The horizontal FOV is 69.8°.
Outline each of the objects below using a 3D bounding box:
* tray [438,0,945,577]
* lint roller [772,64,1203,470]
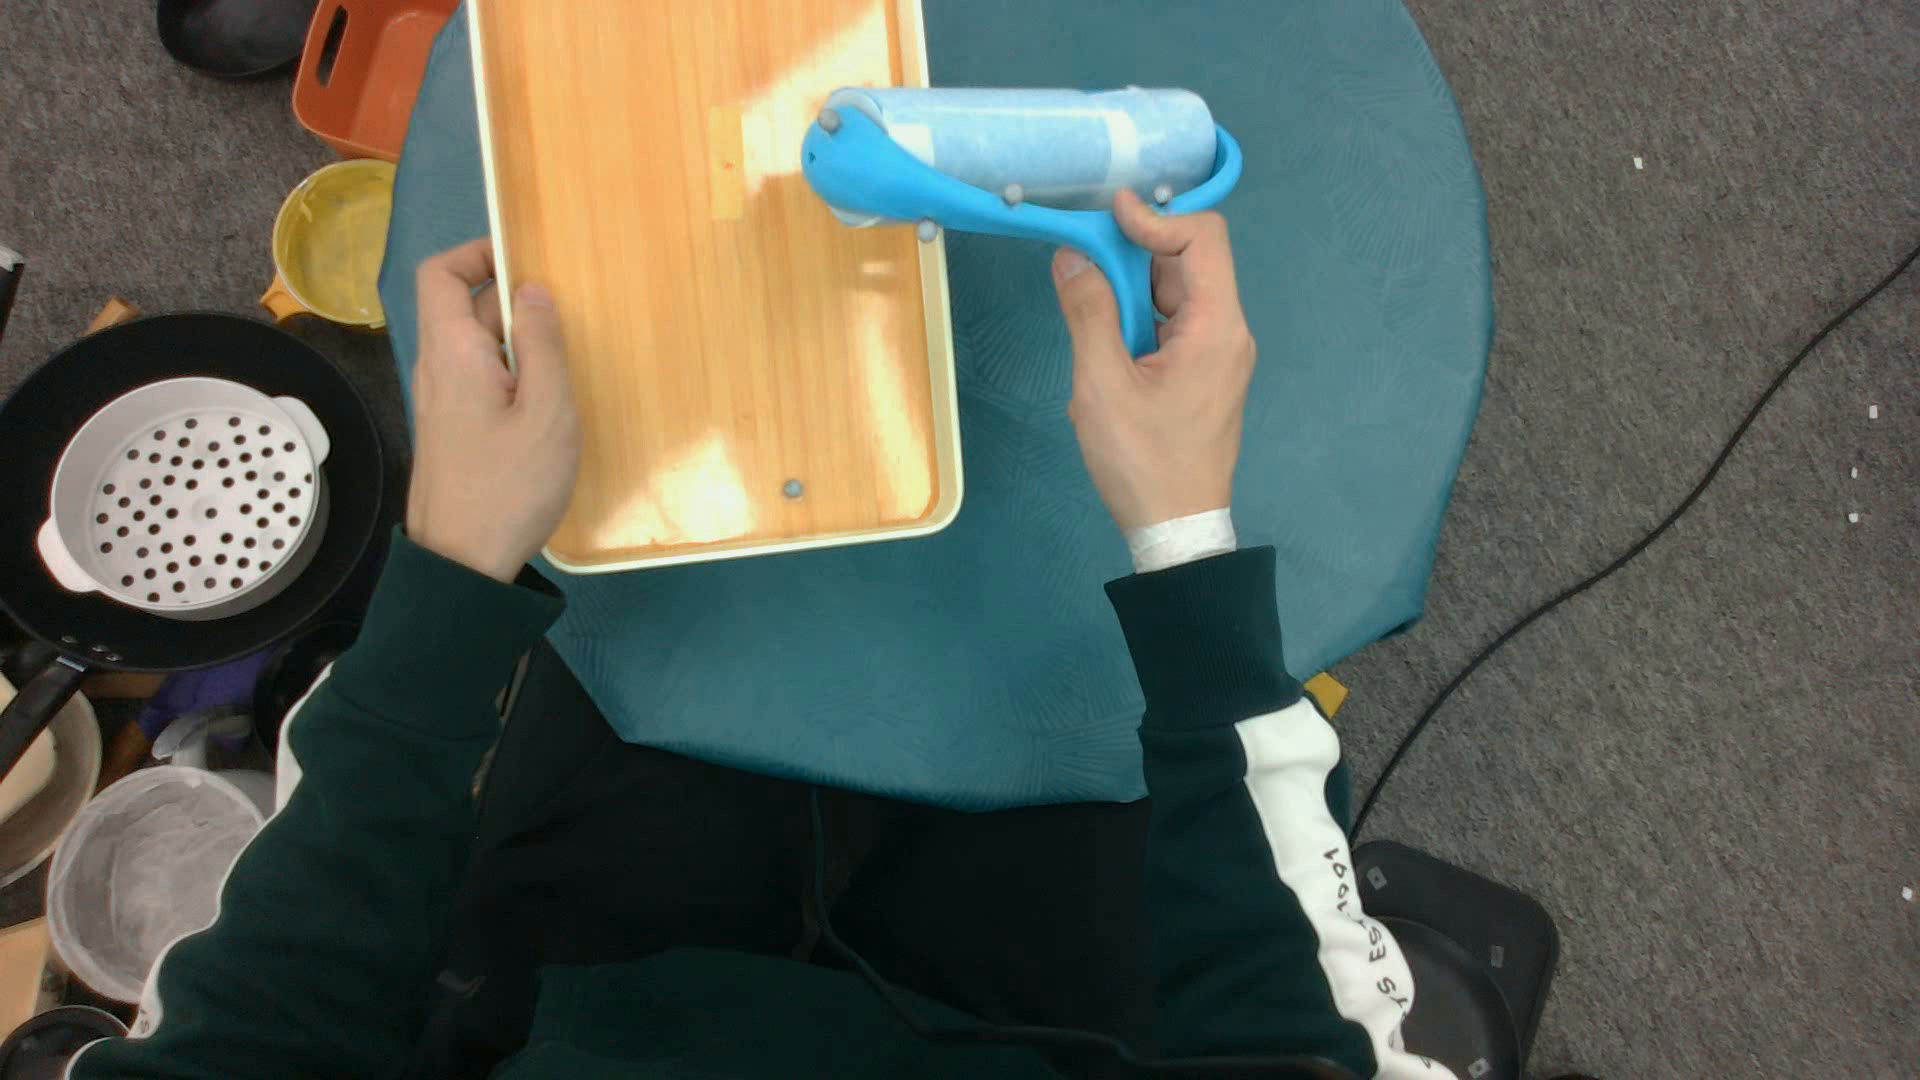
[{"bbox_3d":[-0.114,-0.143,0.601,0.192,0.027,0.300,-8,95,-18],"label":"tray"},{"bbox_3d":[0.042,-0.123,0.593,0.230,0.067,0.180,-22,83,-42],"label":"lint roller"}]
